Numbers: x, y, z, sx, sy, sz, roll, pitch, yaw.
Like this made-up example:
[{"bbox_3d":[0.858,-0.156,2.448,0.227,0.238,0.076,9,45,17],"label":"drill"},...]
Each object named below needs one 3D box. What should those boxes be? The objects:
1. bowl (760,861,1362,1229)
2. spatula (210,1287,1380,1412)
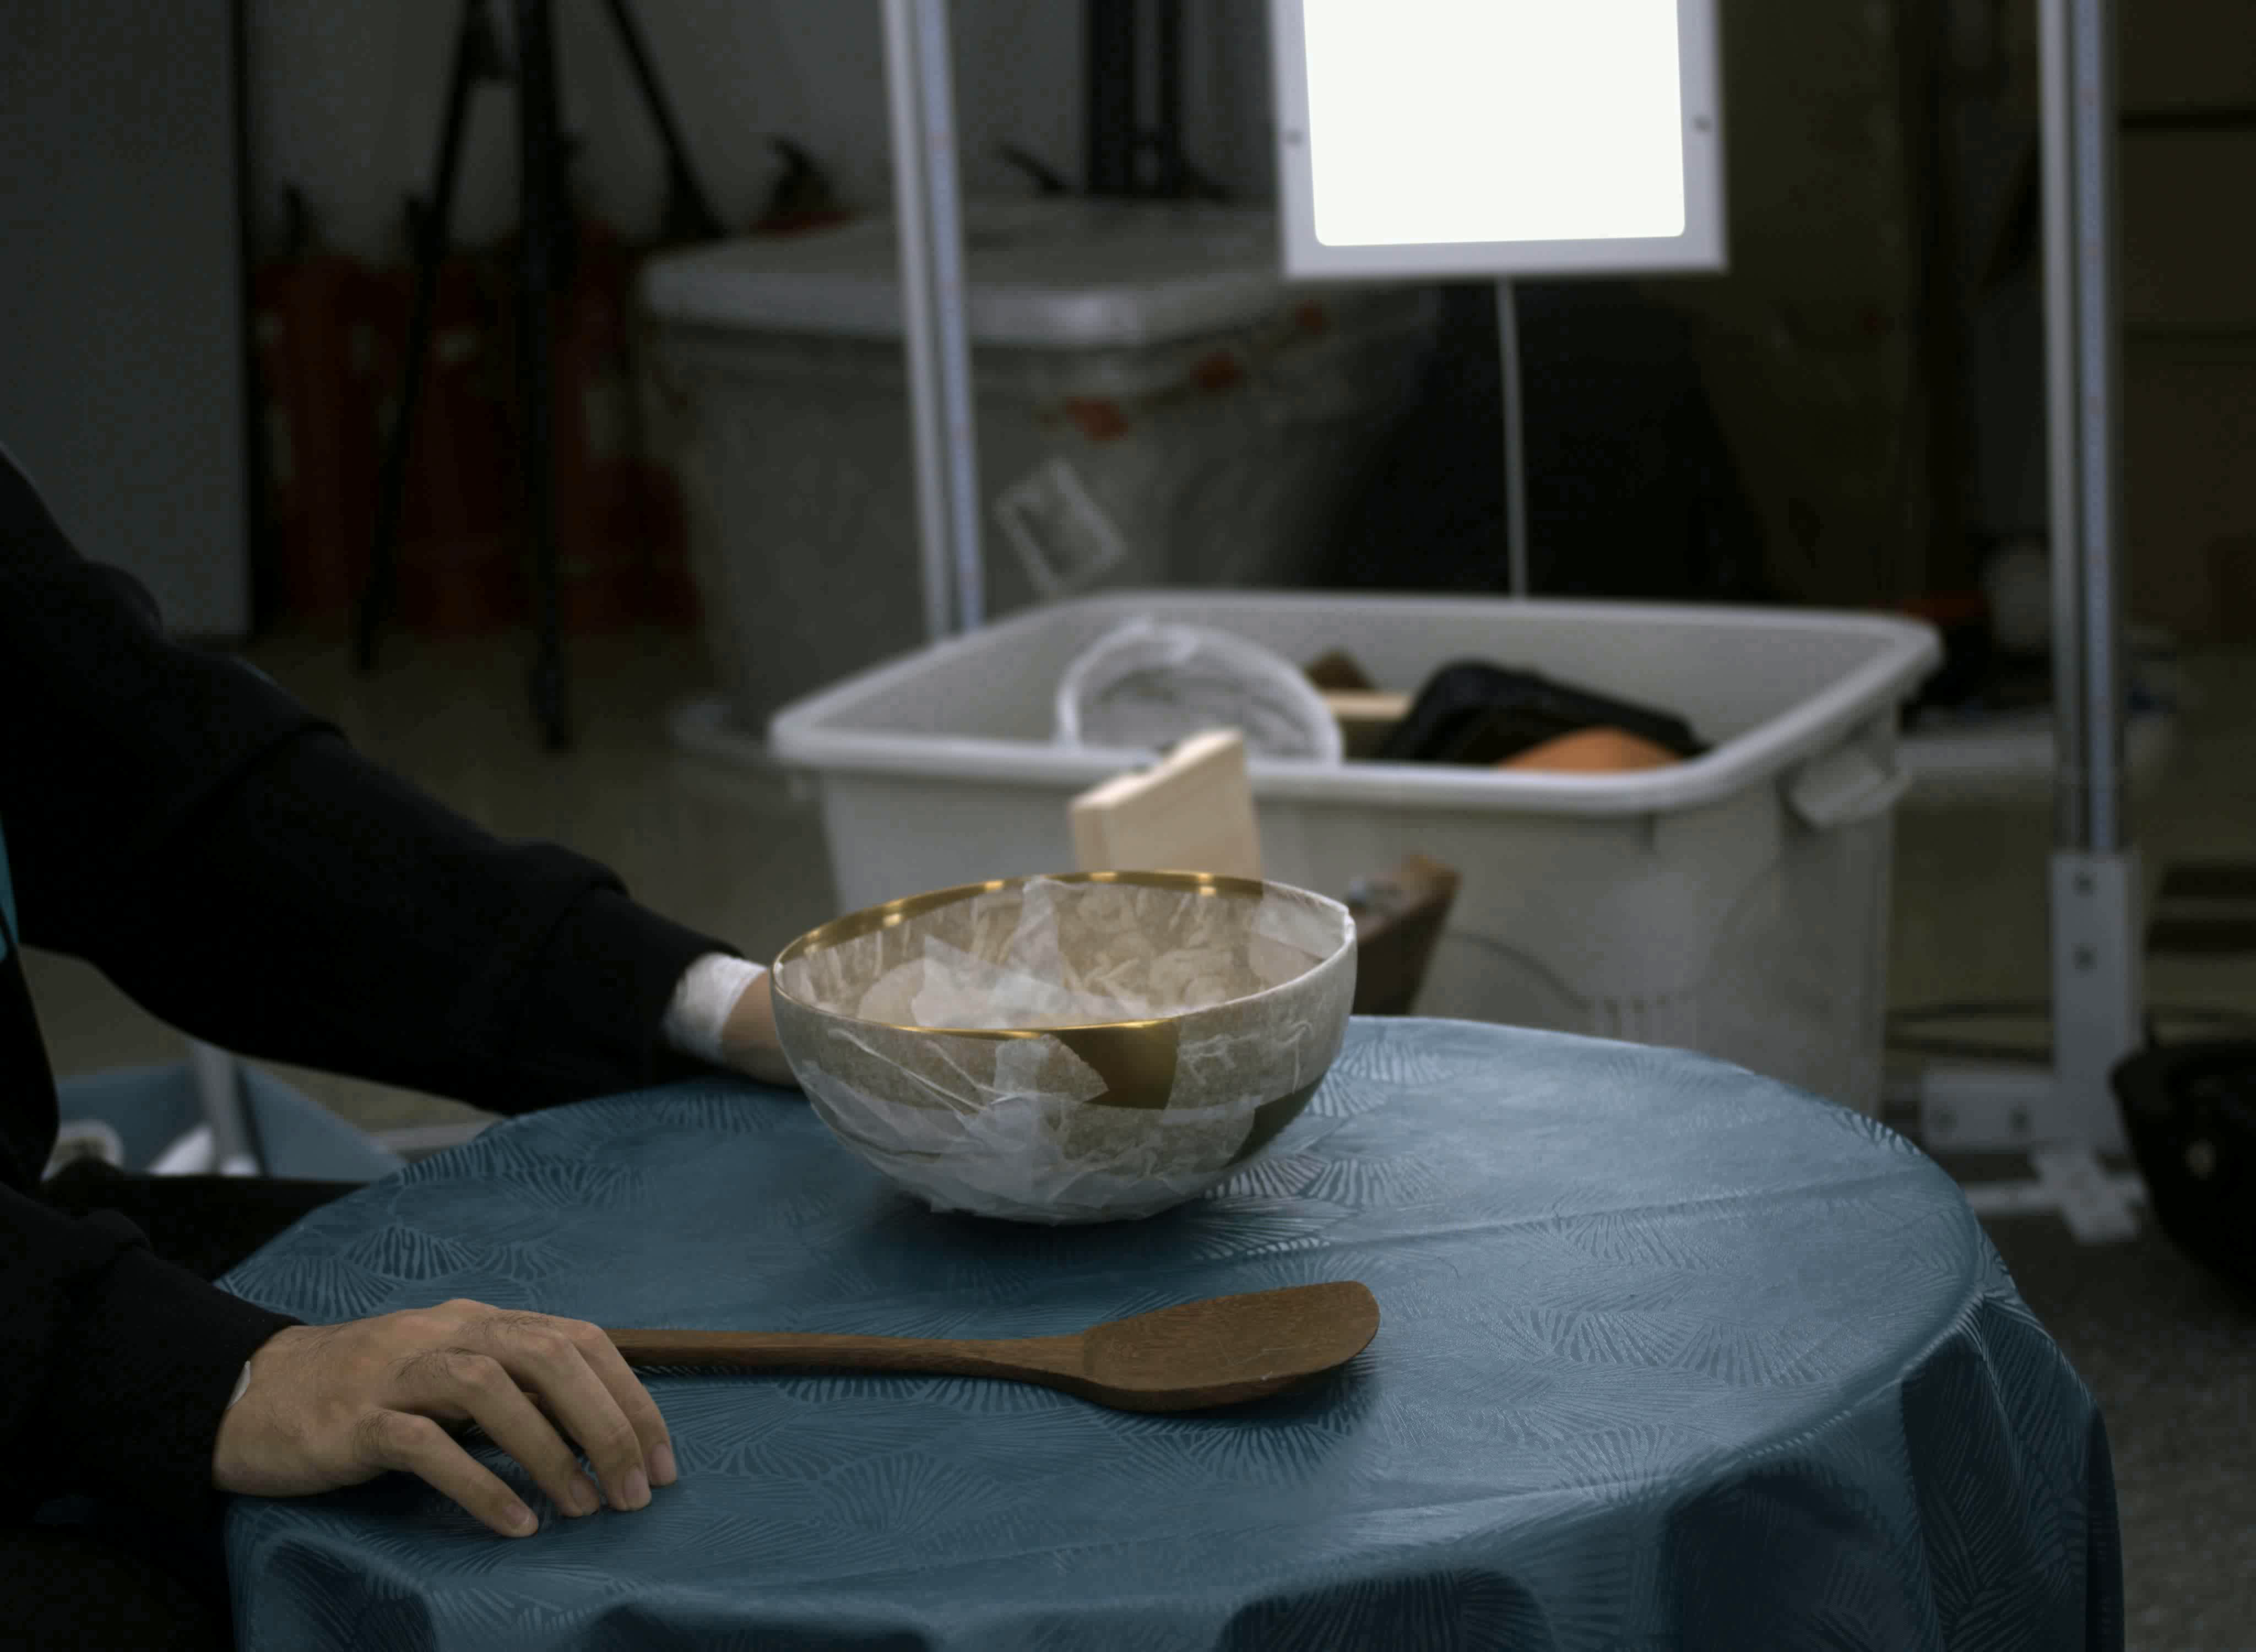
[{"bbox_3d":[-0.020,0.083,1.889,0.214,0.095,0.214,-7,15,0],"label":"bowl"},{"bbox_3d":[-0.110,0.166,1.747,0.389,0.016,0.095,-1,14,15],"label":"spatula"}]
